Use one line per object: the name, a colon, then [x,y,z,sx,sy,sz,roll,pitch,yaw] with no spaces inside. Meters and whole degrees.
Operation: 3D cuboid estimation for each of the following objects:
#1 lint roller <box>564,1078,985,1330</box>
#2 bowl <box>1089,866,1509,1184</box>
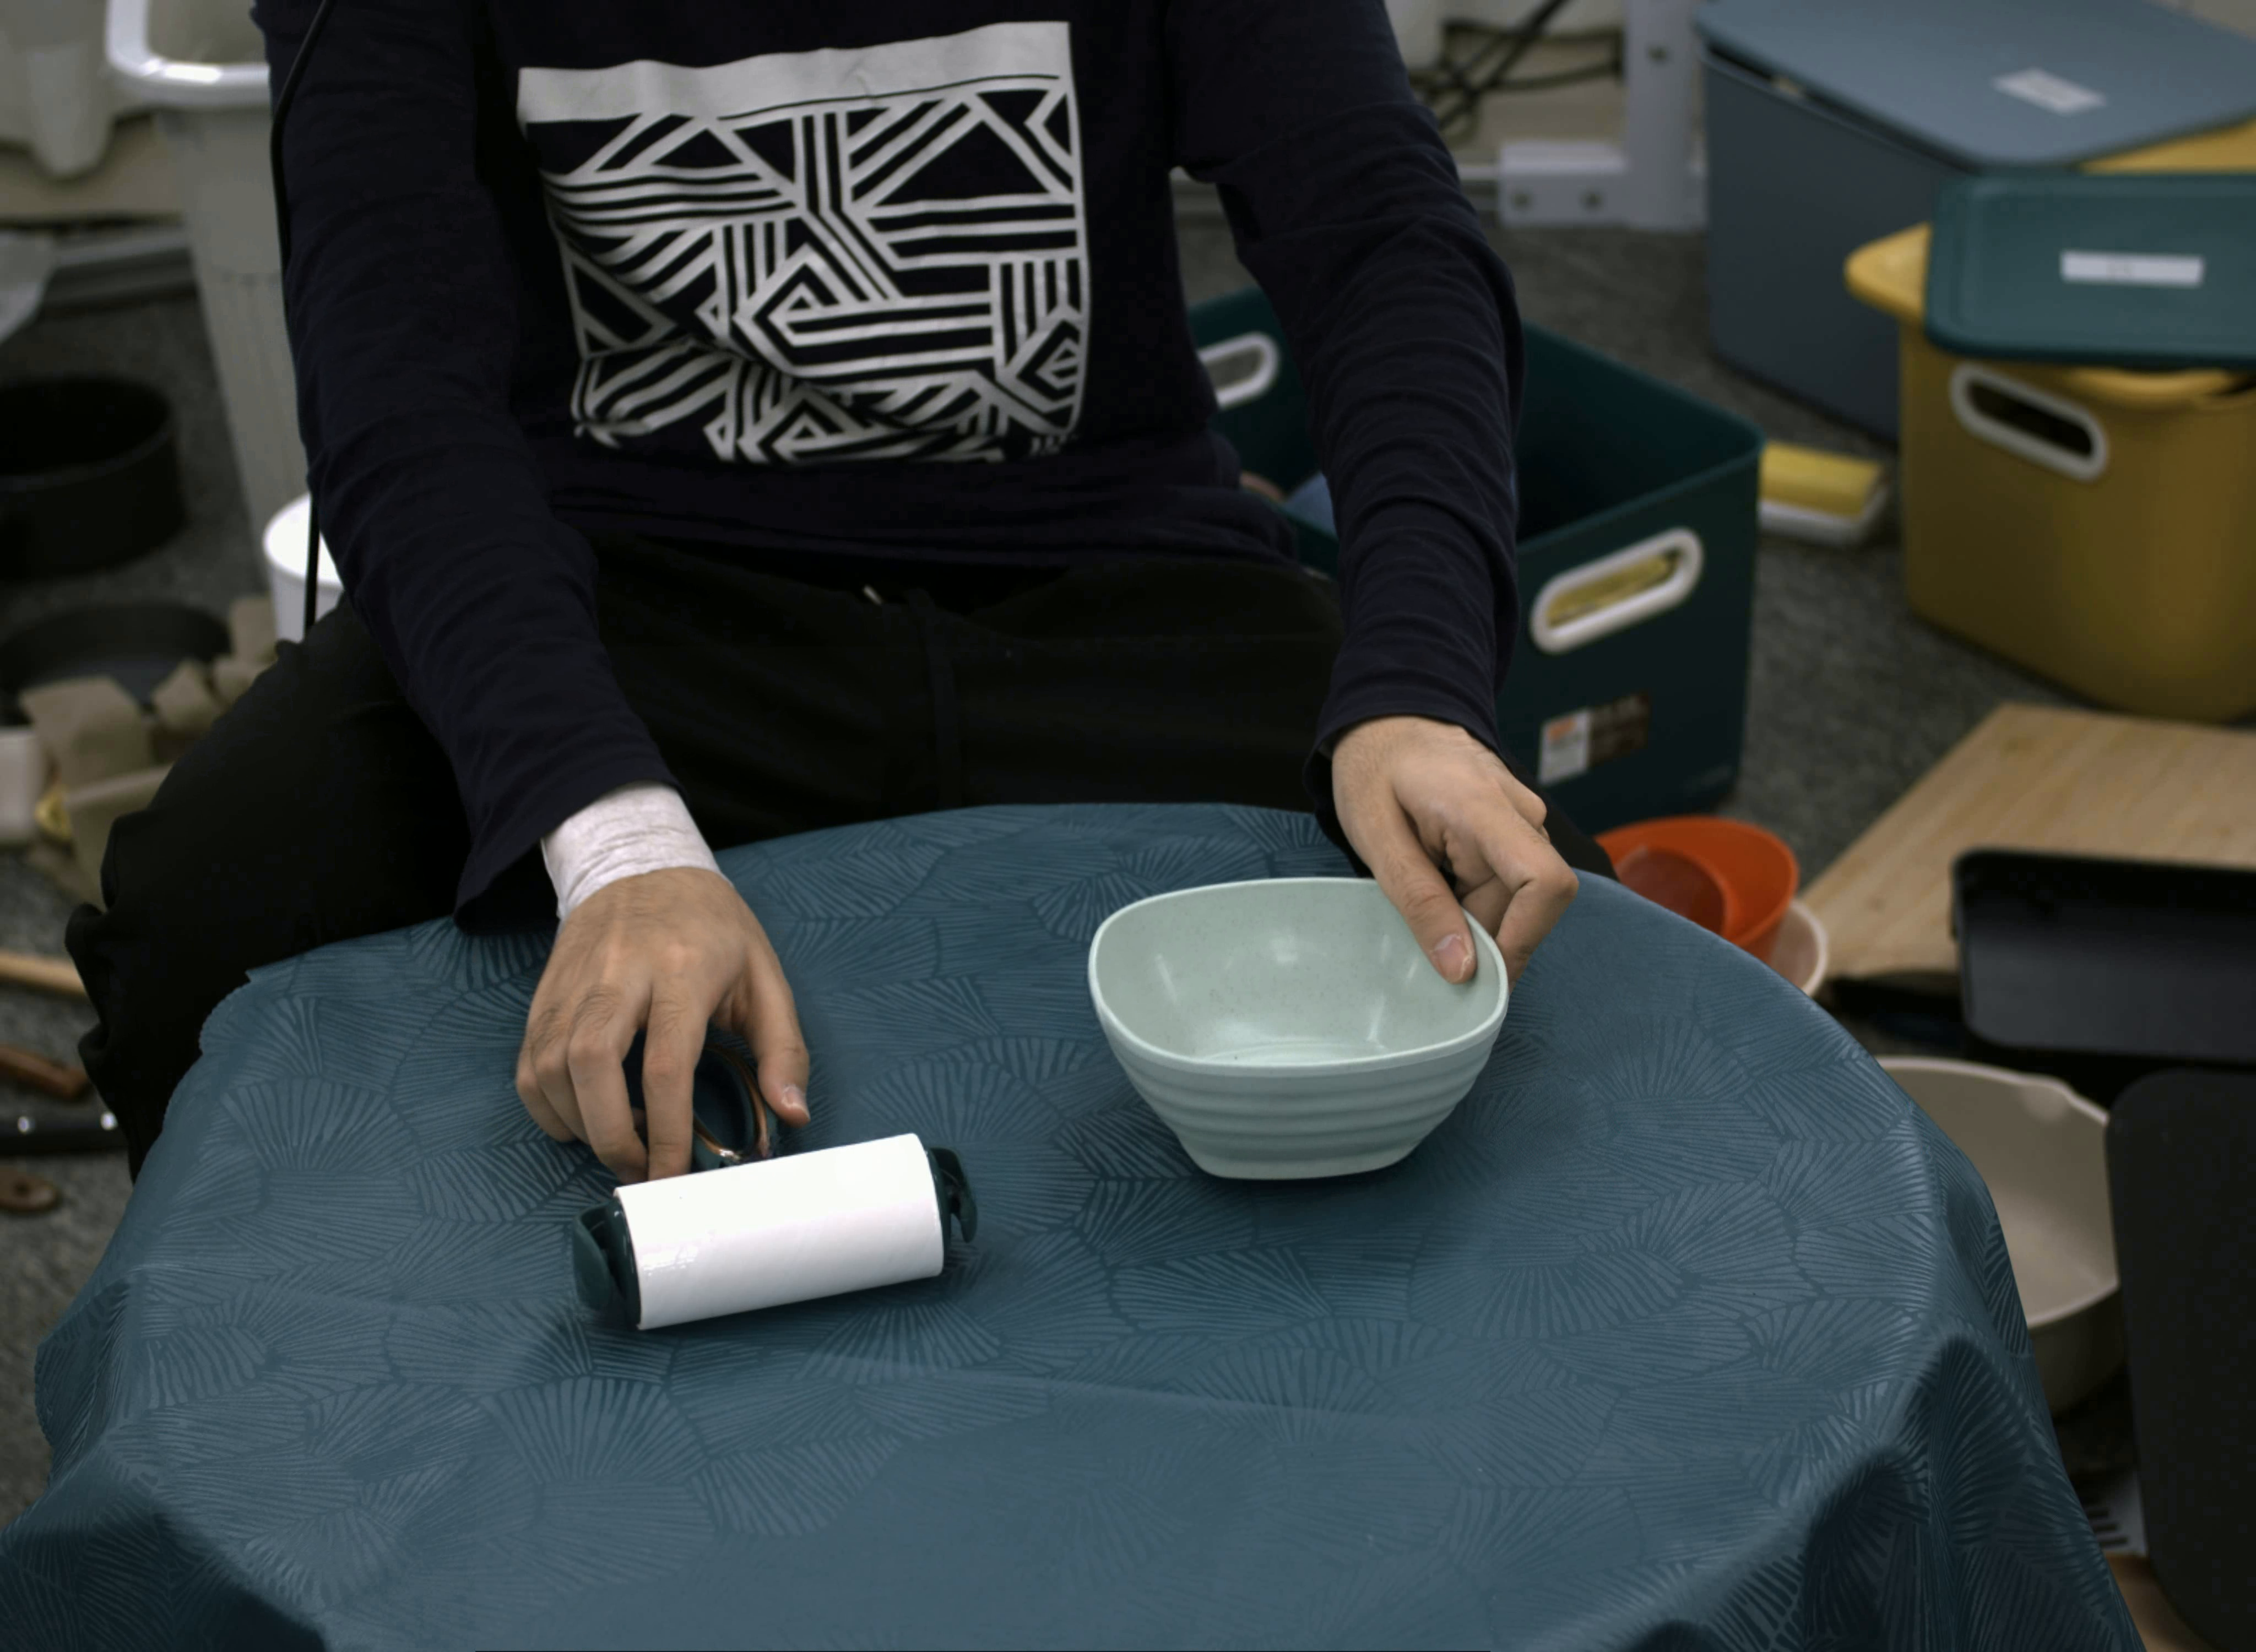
lint roller: [-0.131,0.105,1.864,0.134,0.048,0.181,-10,25,-13]
bowl: [0.057,0.073,1.882,0.151,0.058,0.154,-1,28,1]
